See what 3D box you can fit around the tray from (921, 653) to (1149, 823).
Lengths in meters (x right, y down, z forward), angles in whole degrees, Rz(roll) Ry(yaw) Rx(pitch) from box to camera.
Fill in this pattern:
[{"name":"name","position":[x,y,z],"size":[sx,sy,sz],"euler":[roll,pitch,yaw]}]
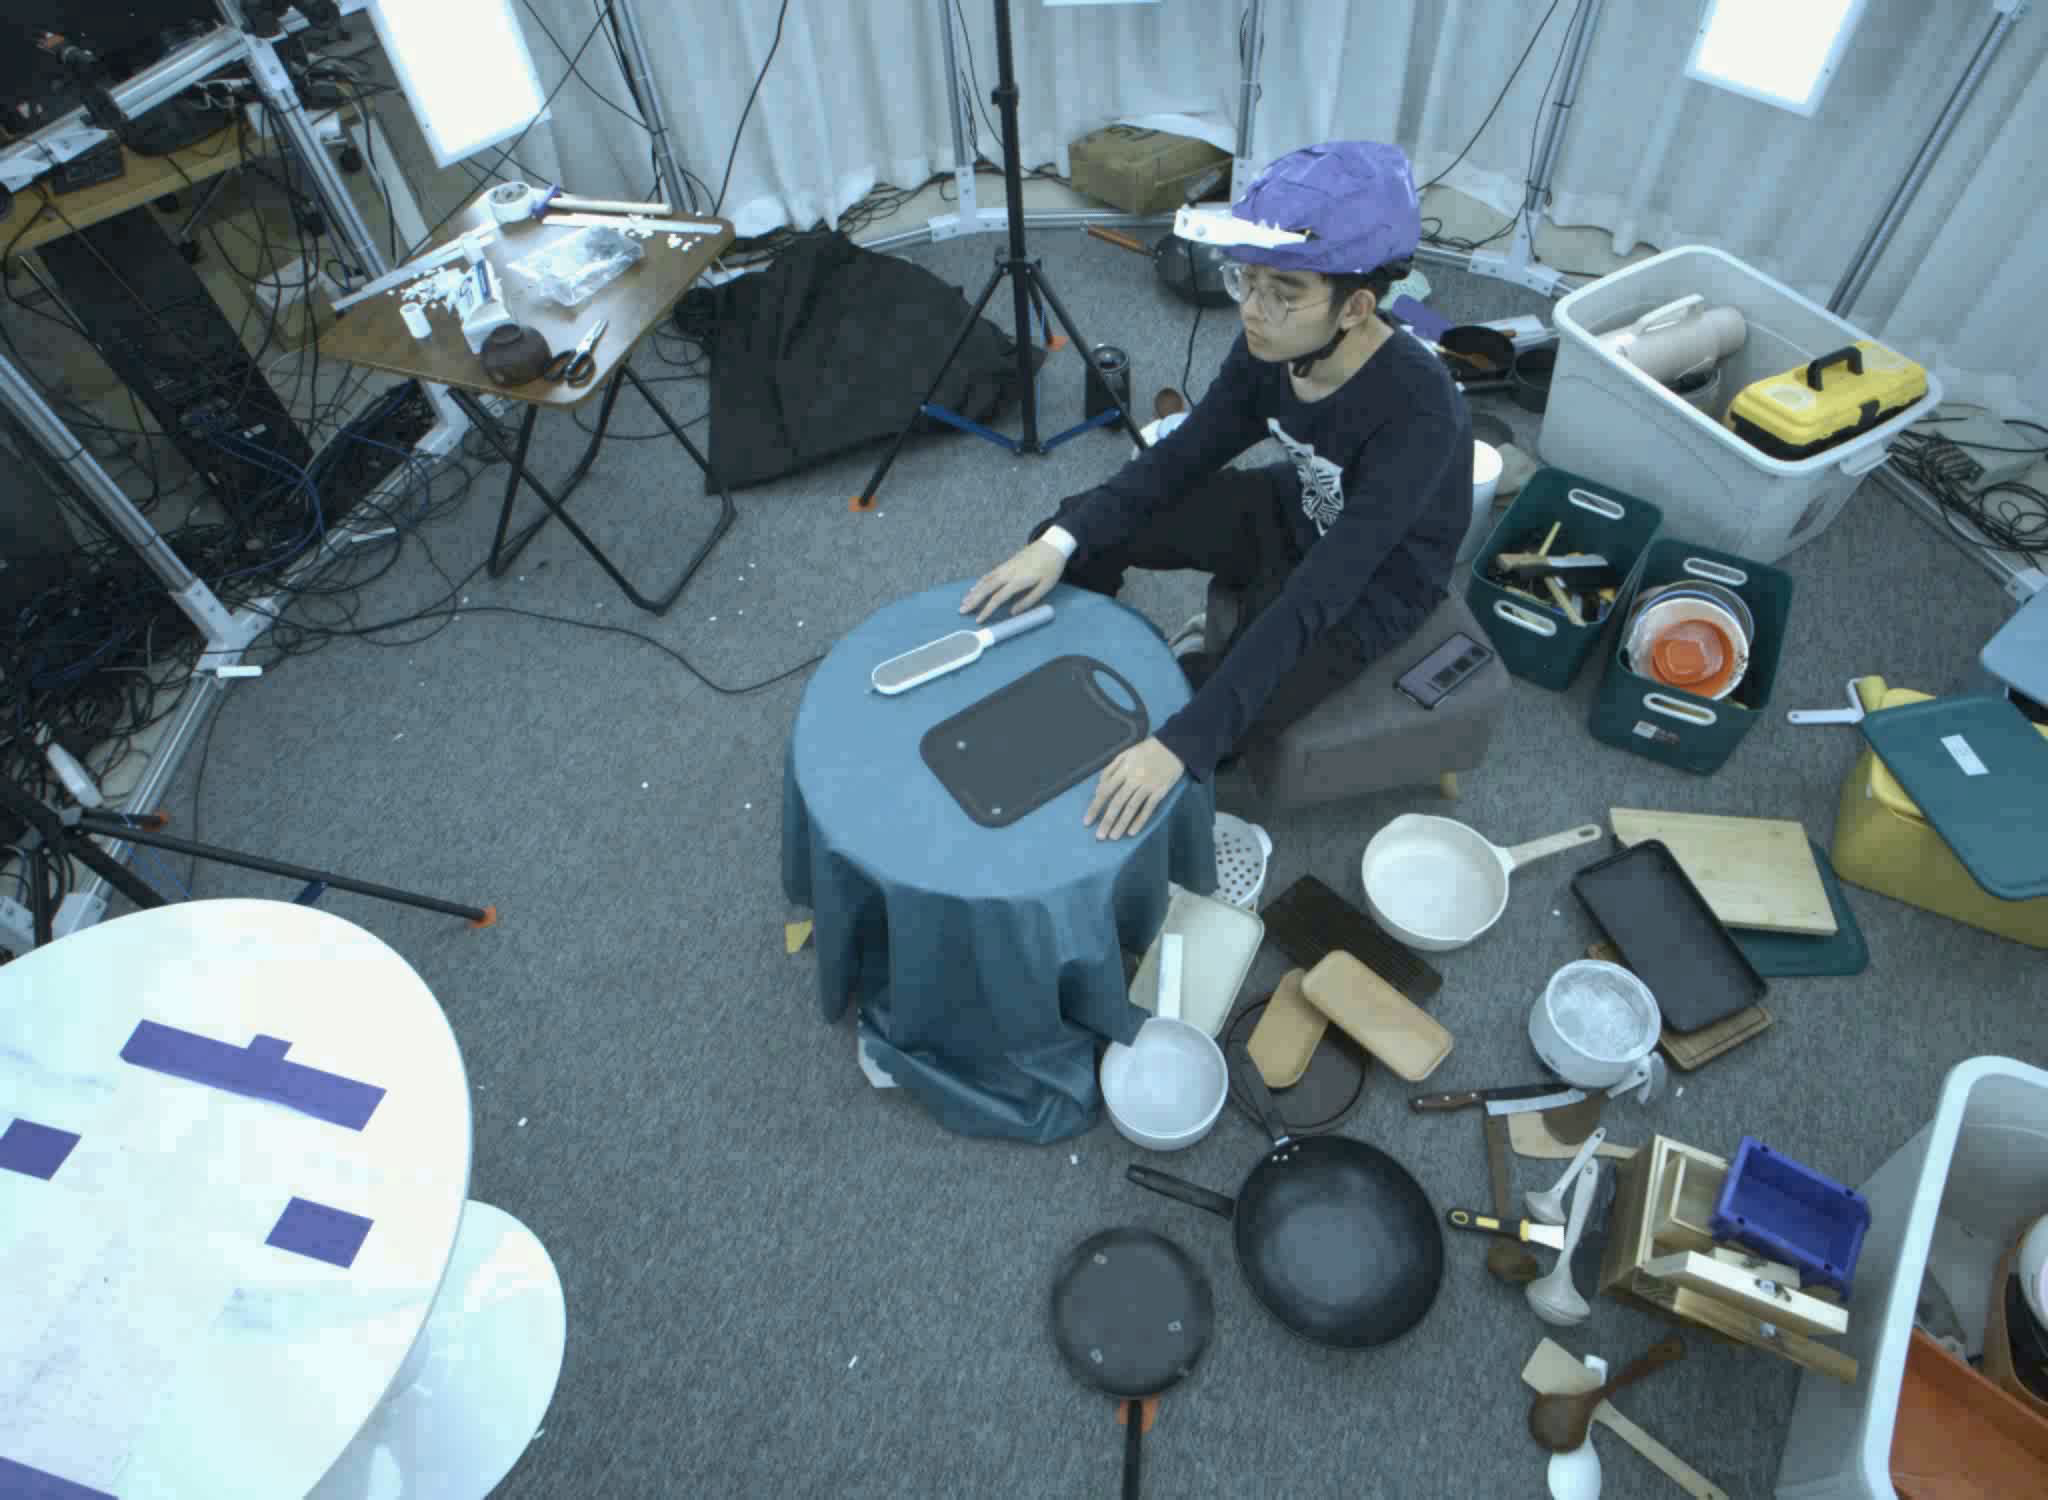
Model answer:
[{"name":"tray","position":[0.022,-0.028,1.811],"size":[0.328,0.010,0.207],"euler":[-29,59,-19]}]

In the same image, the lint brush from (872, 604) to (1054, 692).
[{"name":"lint brush","position":[-0.092,-0.162,1.896],"size":[0.311,0.021,0.059],"euler":[-24,52,-15]}]
